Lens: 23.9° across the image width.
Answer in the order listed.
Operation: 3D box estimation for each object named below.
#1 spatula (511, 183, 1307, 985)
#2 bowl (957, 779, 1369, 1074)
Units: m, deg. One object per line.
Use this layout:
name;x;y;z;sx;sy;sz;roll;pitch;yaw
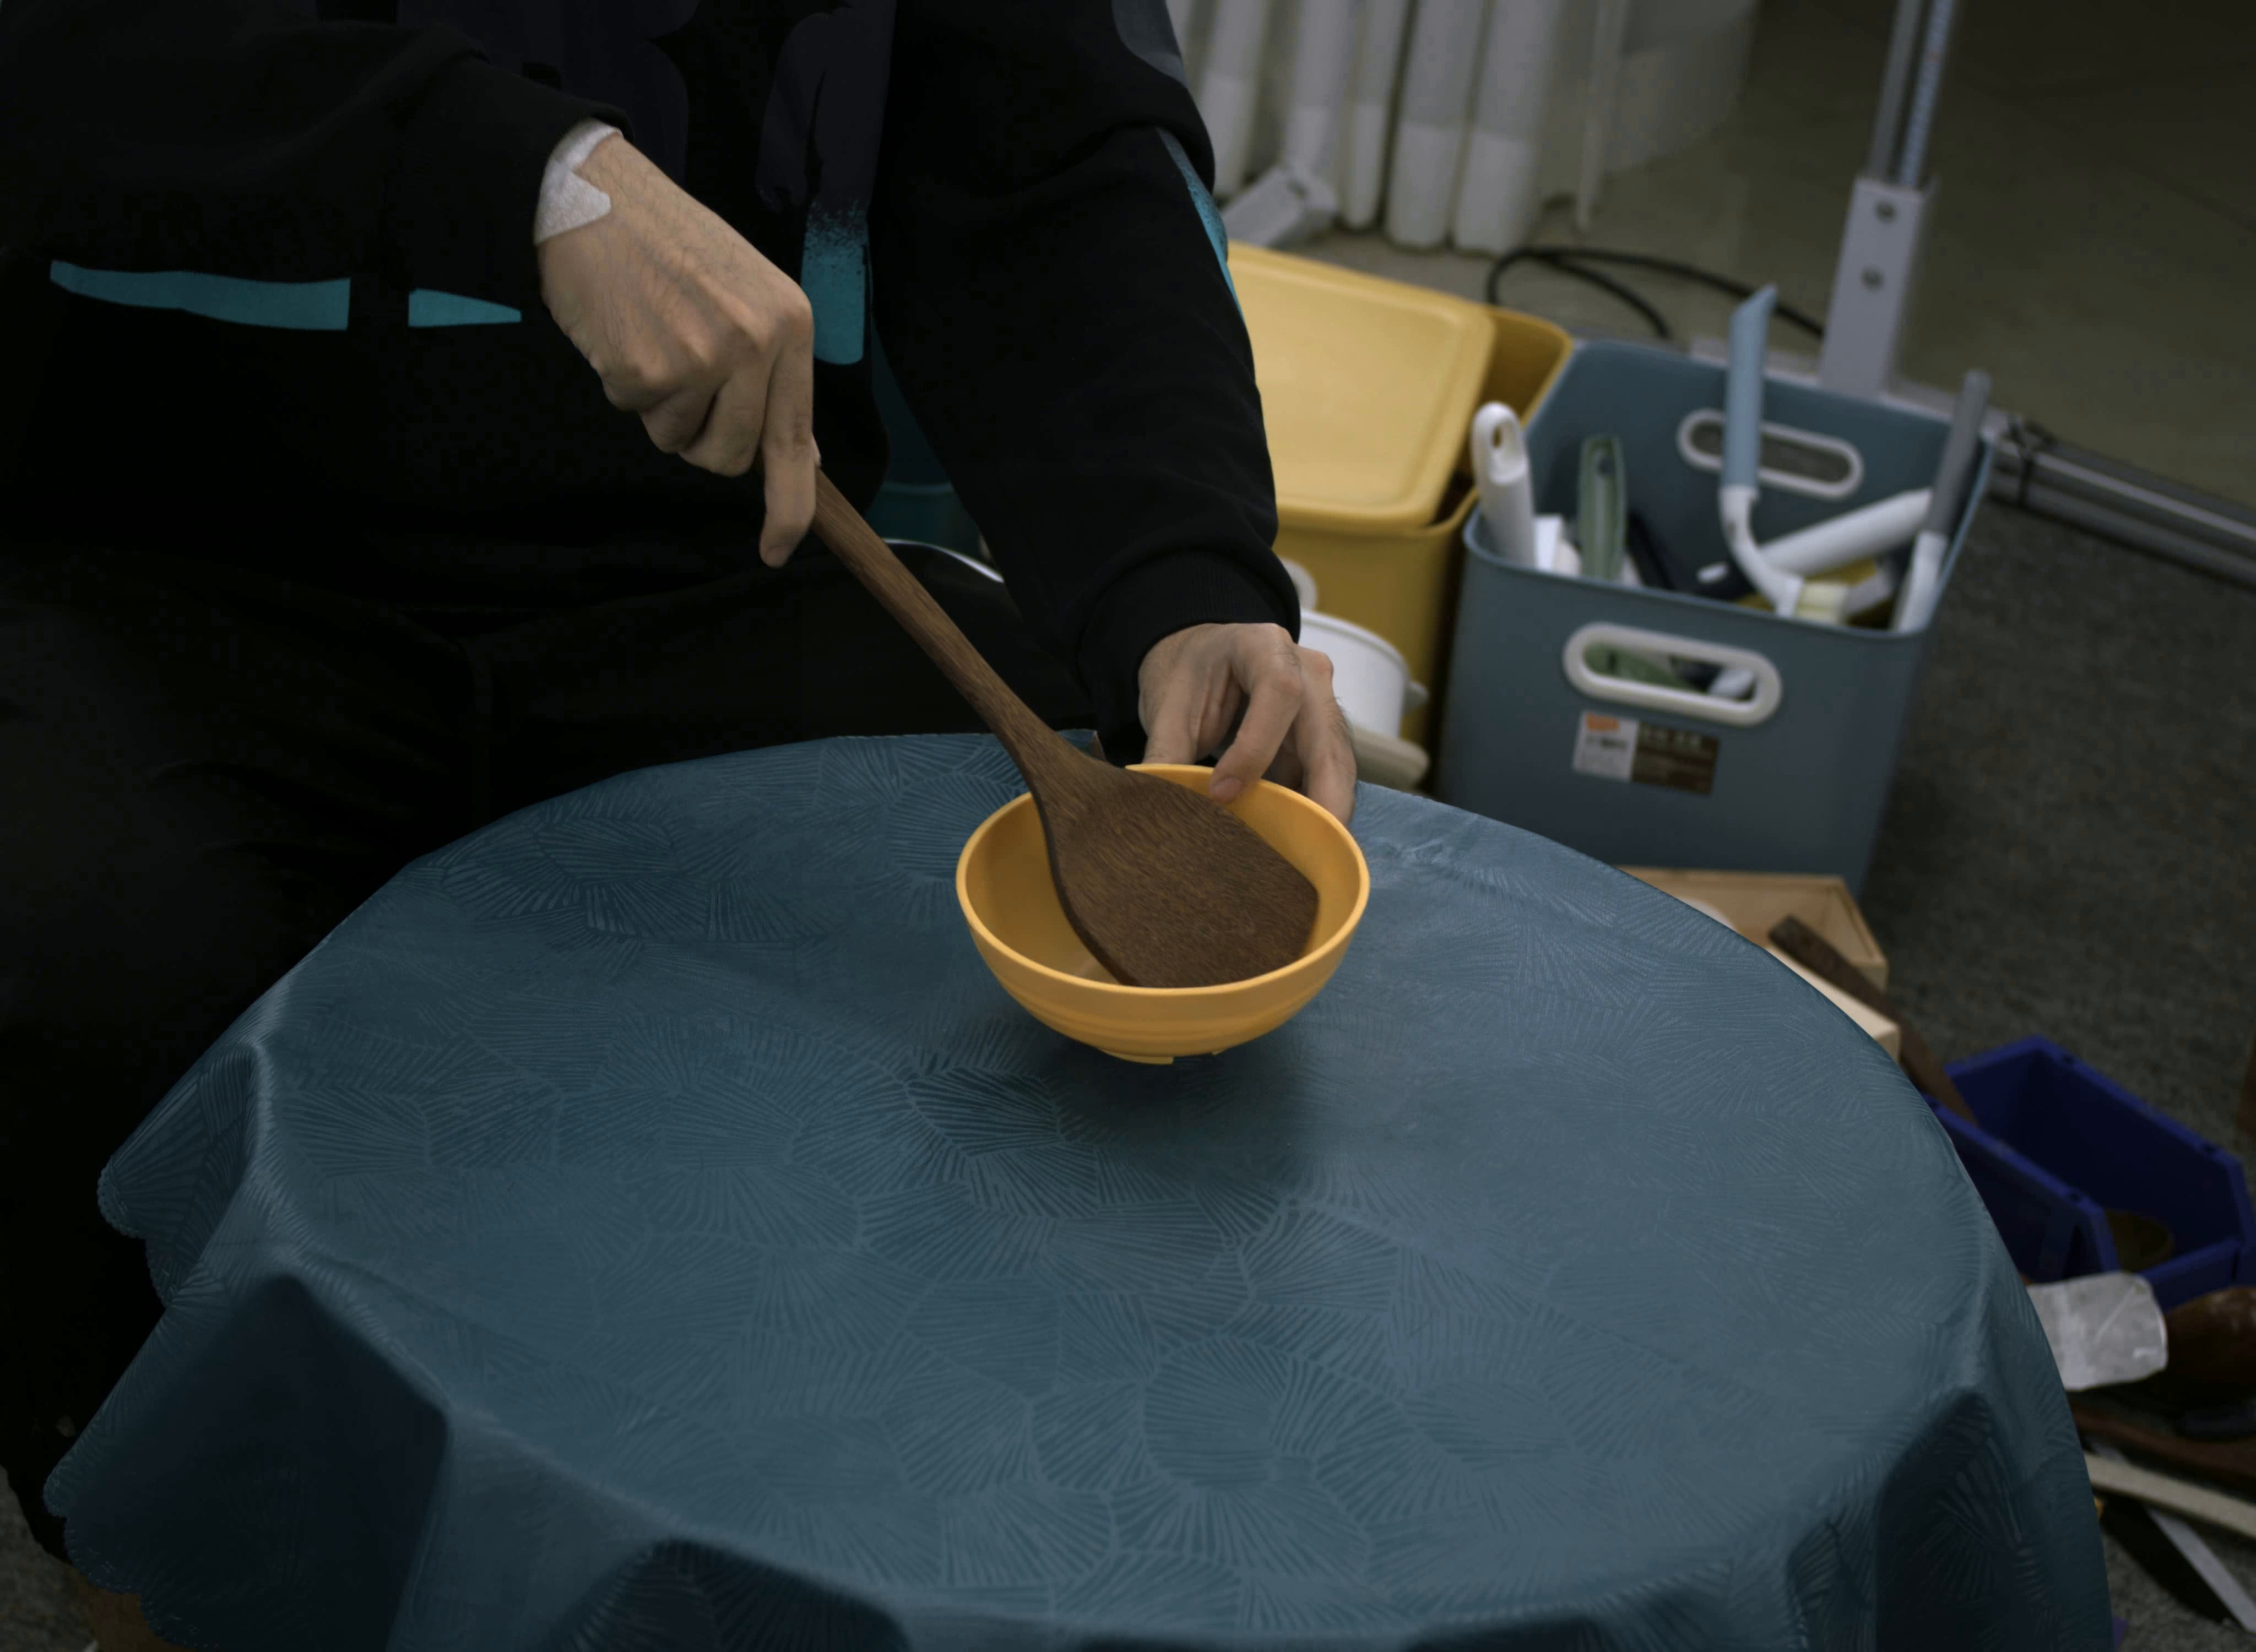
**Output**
spatula;-0.083;-0.085;1.874;0.386;0.016;0.096;48;47;1
bowl;0.011;0.045;1.871;0.145;0.060;0.146;1;30;-1
